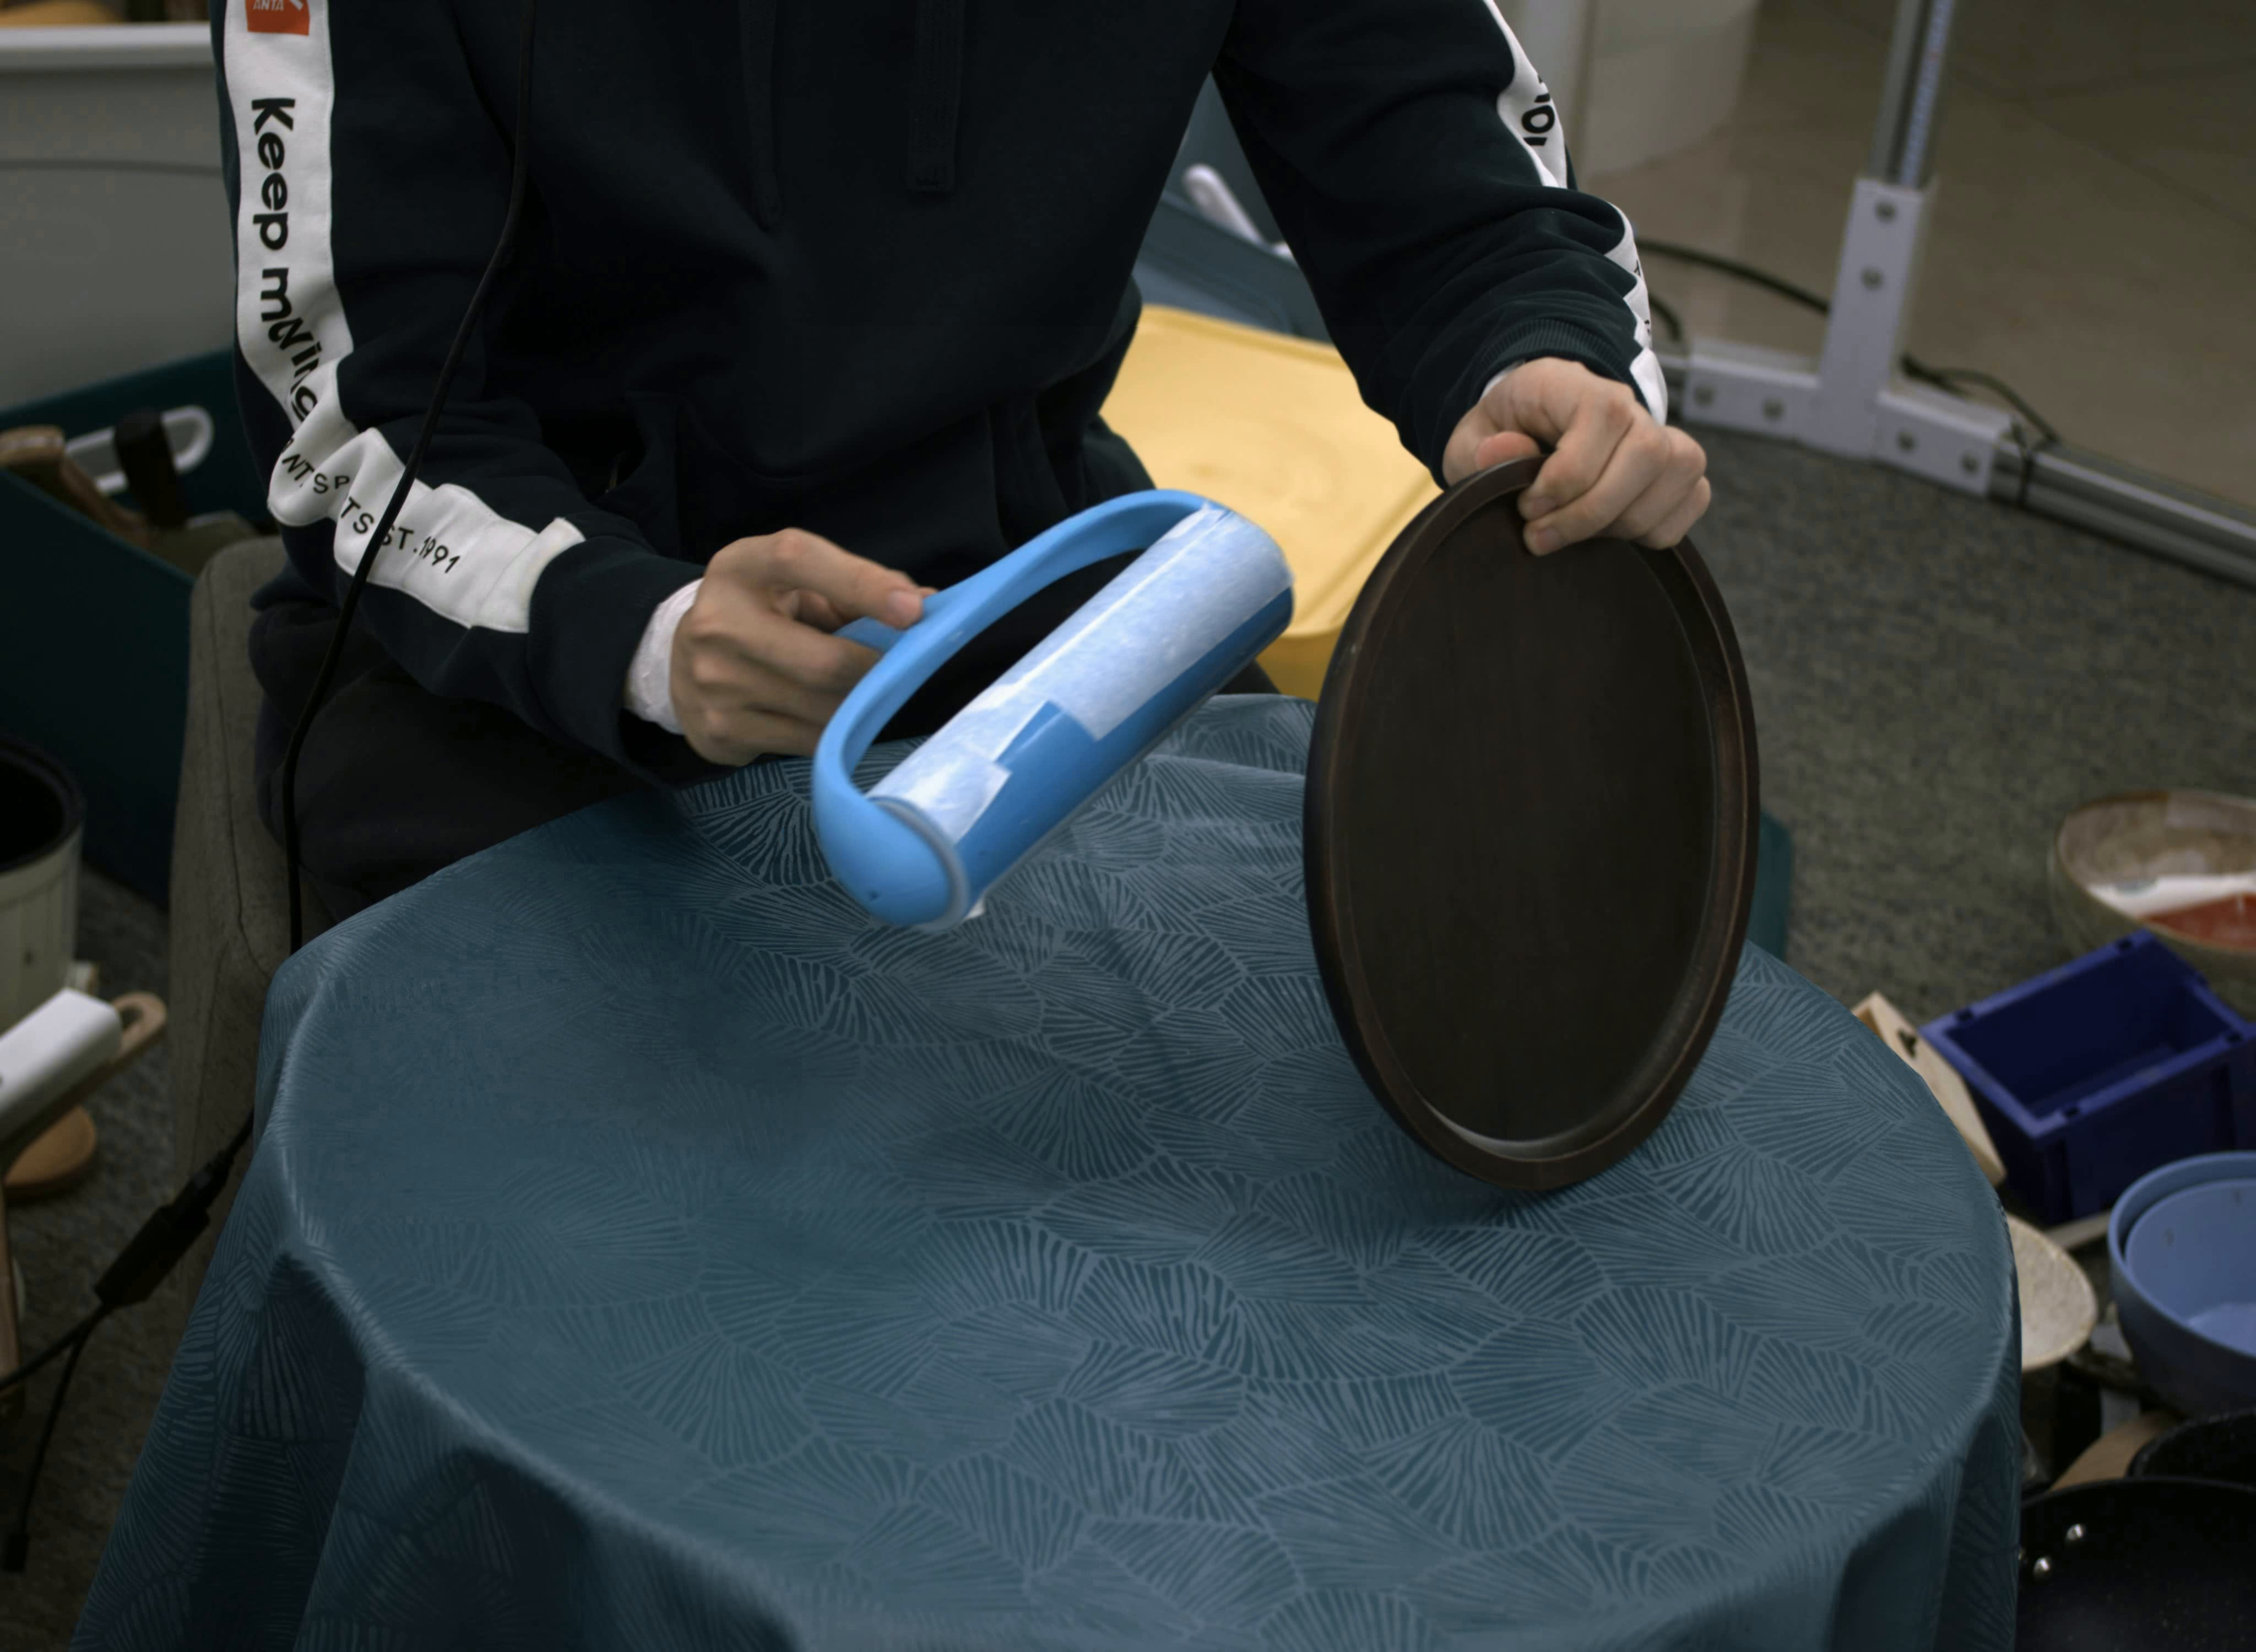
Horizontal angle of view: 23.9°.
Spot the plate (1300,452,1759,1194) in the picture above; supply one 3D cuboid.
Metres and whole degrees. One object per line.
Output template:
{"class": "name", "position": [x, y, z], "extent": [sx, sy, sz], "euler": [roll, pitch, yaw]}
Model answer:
{"class": "plate", "position": [0.139, -0.001, 1.819], "extent": [0.029, 0.254, 0.254], "euler": [1, 18, 39]}

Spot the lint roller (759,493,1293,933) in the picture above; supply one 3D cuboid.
{"class": "lint roller", "position": [-0.066, -0.044, 1.849], "extent": [0.181, 0.067, 0.229], "euler": [7, 37, 36]}
